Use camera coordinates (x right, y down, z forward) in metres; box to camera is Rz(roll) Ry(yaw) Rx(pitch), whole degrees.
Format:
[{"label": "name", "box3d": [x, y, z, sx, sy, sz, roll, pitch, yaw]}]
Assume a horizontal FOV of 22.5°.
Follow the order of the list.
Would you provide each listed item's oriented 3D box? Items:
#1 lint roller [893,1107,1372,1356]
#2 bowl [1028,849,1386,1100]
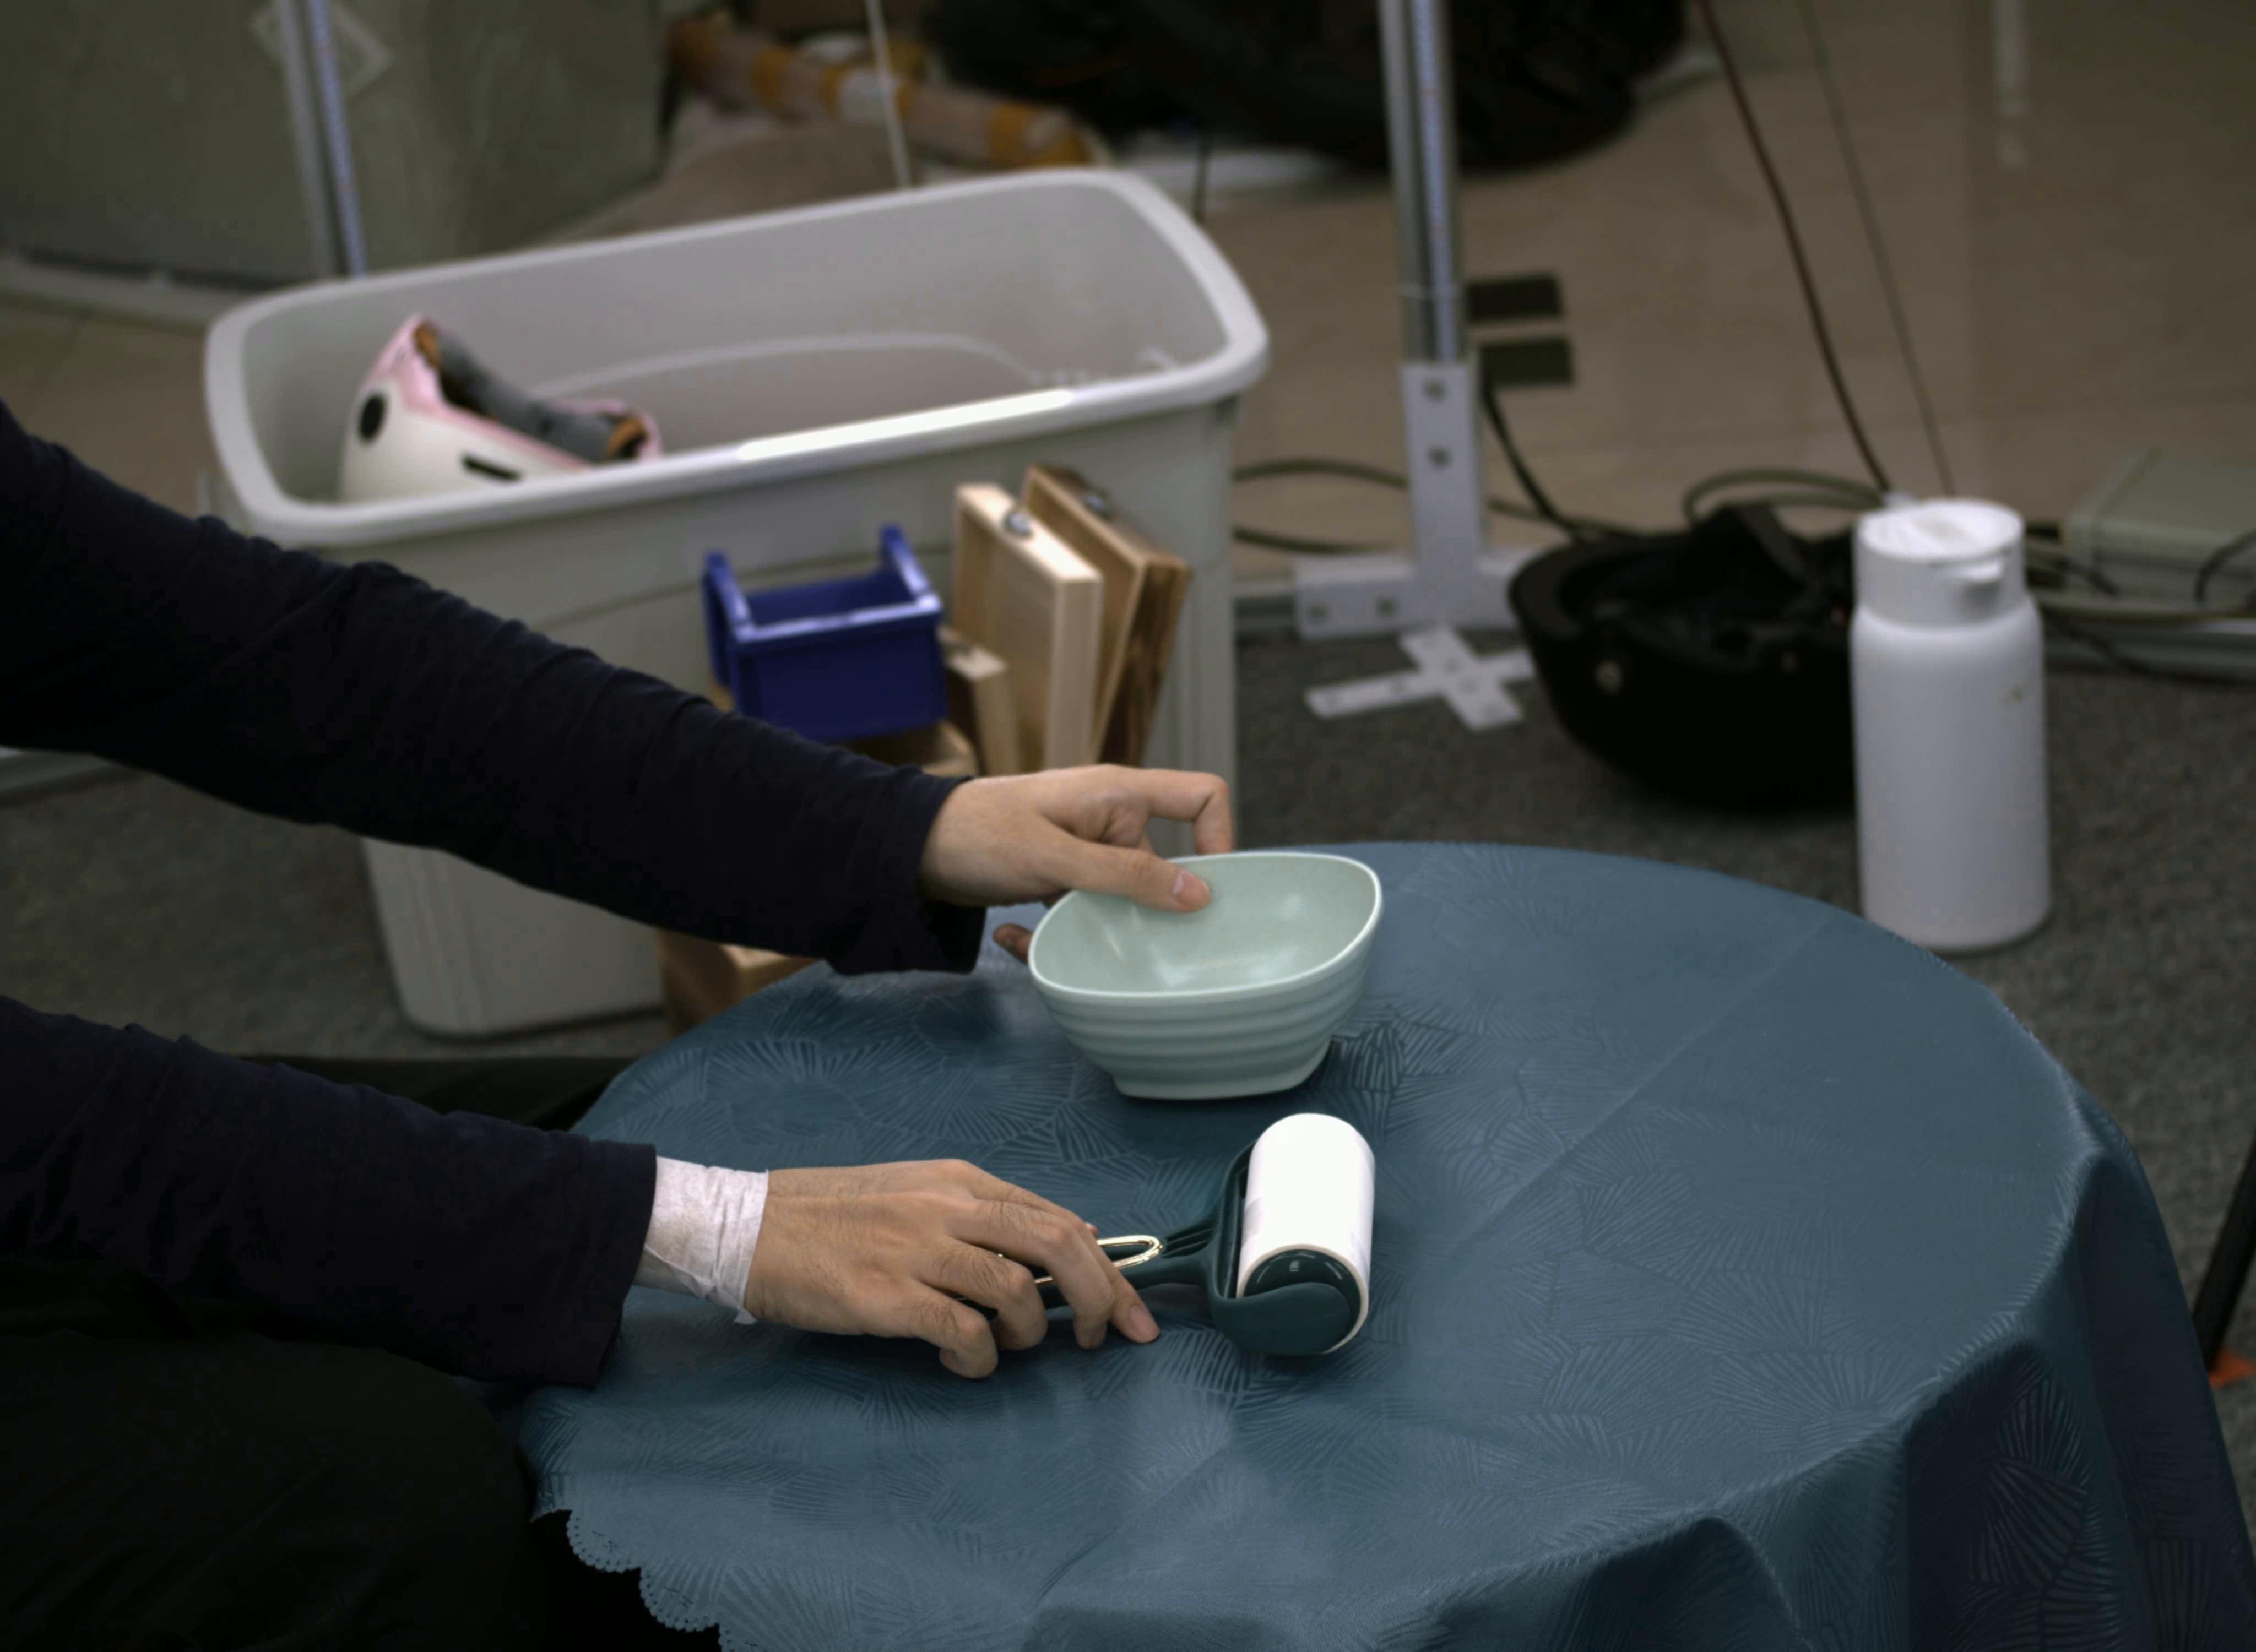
[{"label": "lint roller", "box3d": [-0.001, 0.156, 2.067, 0.180, 0.049, 0.132, -7, 25, 7]}, {"label": "bowl", "box3d": [0.033, 0.063, 2.229, 0.151, 0.059, 0.149, -4, 24, 2]}]
